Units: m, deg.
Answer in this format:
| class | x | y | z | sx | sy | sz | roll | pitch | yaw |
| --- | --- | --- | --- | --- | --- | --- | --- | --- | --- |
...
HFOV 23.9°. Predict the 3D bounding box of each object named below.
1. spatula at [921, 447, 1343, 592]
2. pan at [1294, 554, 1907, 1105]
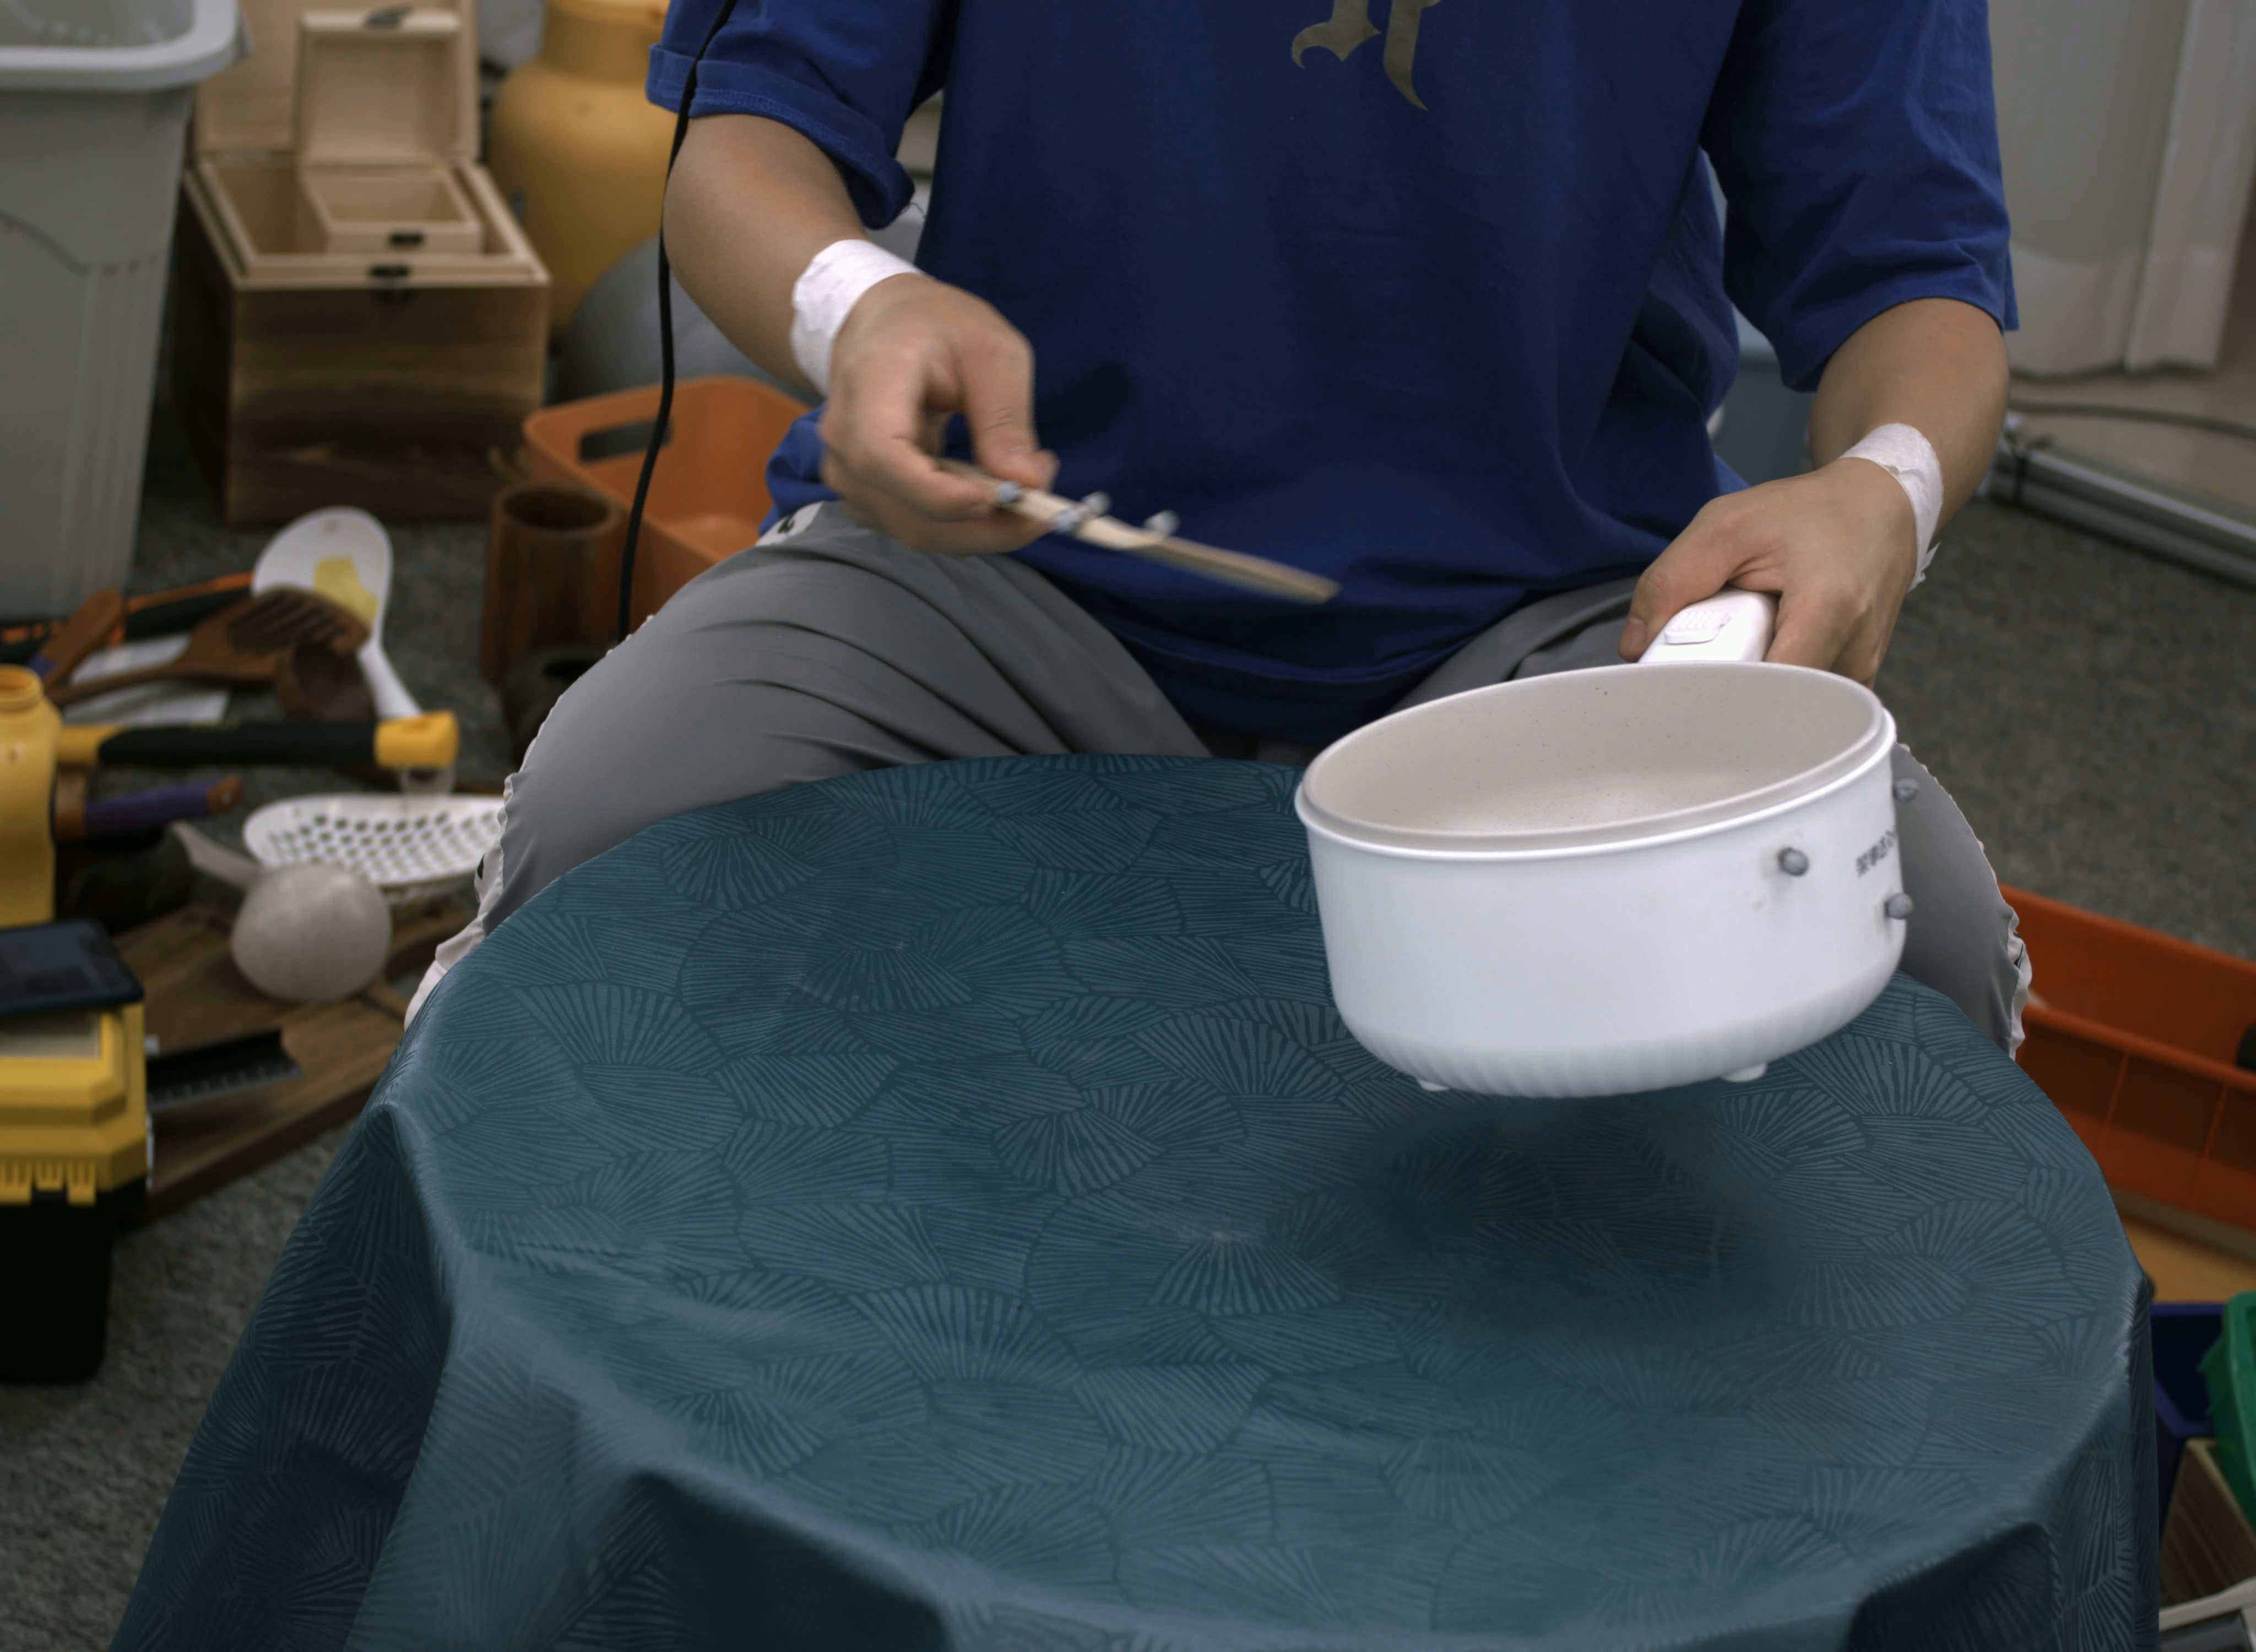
| class | x | y | z | sx | sy | sz | roll | pitch | yaw |
| --- | --- | --- | --- | --- | --- | --- | --- | --- | --- |
| spatula | -0.014 | -0.109 | 1.839 | 0.072 | 0.010 | 0.295 | 13 | 5 | -24 |
| pan | 0.185 | -0.002 | 1.854 | 0.201 | 0.102 | 0.355 | -5 | 16 | 21 |
